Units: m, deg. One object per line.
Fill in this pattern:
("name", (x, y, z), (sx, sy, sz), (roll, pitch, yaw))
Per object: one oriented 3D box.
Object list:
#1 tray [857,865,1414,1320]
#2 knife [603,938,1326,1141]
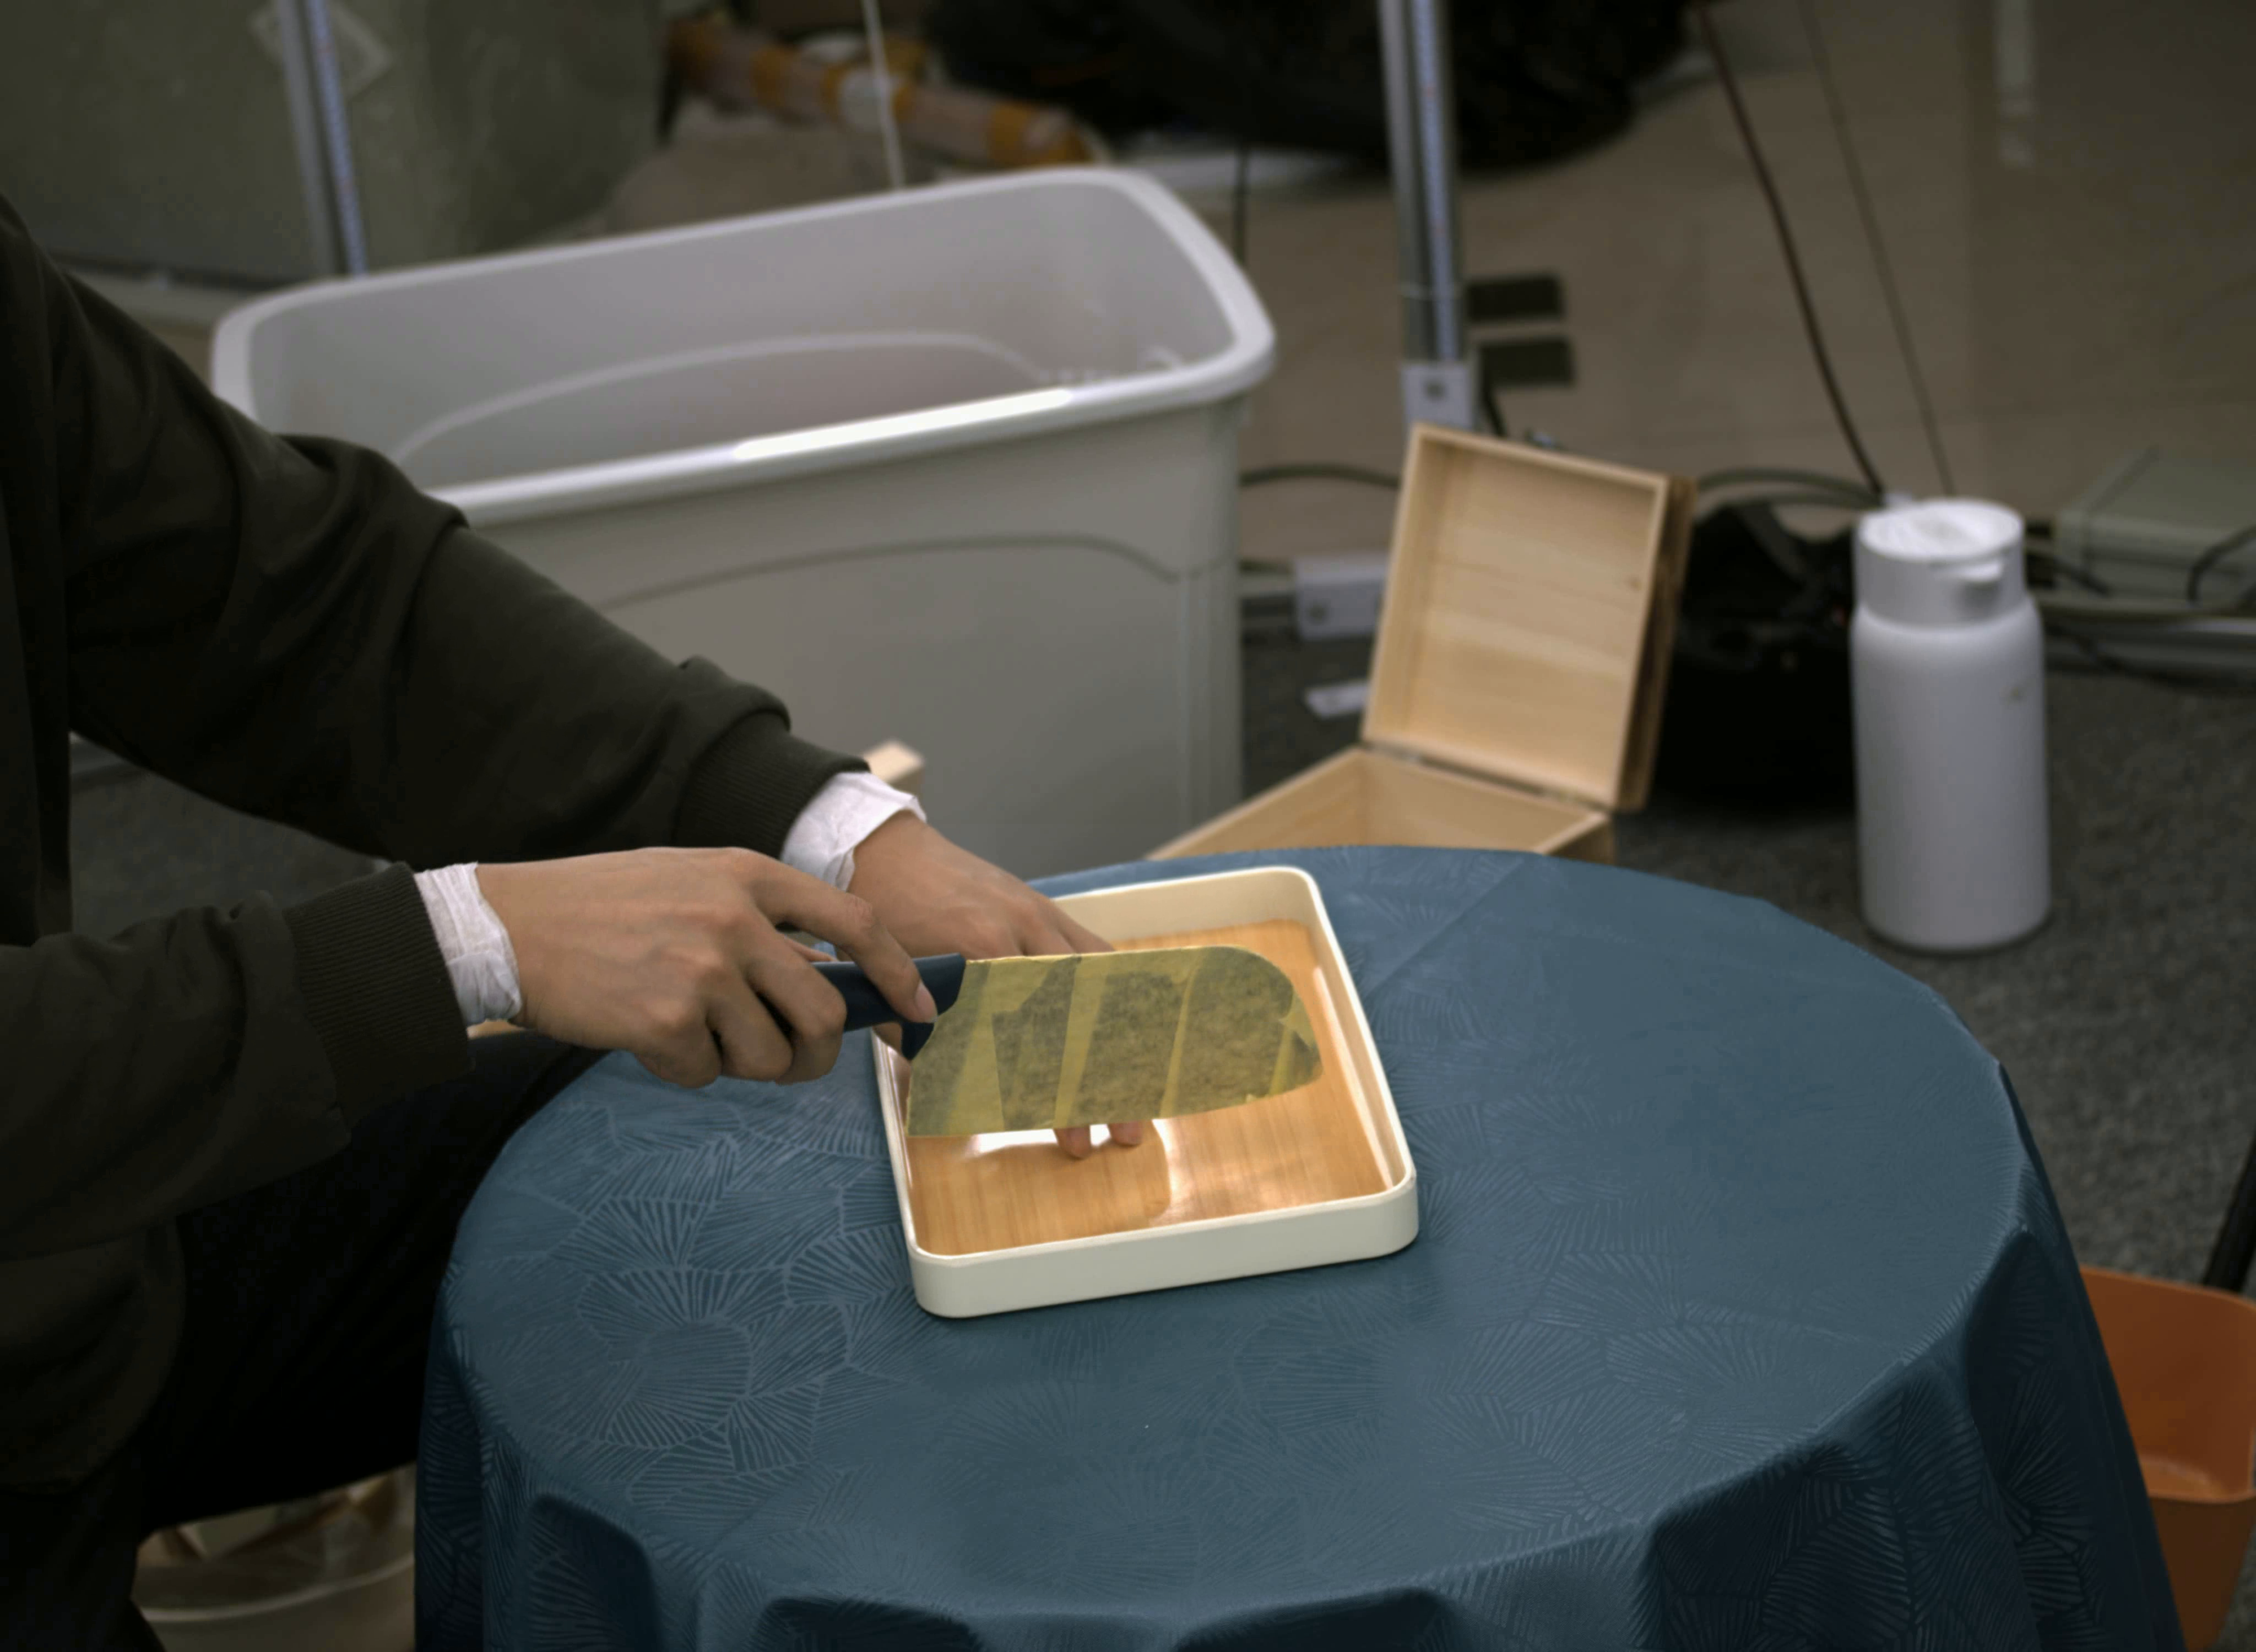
("tray", (-0.002, 0.099, 2.207), (0.191, 0.028, 0.296), (-9, 24, -3))
("knife", (-0.056, 0.078, 2.060), (0.289, 0.082, 0.027), (0, 24, -26))
